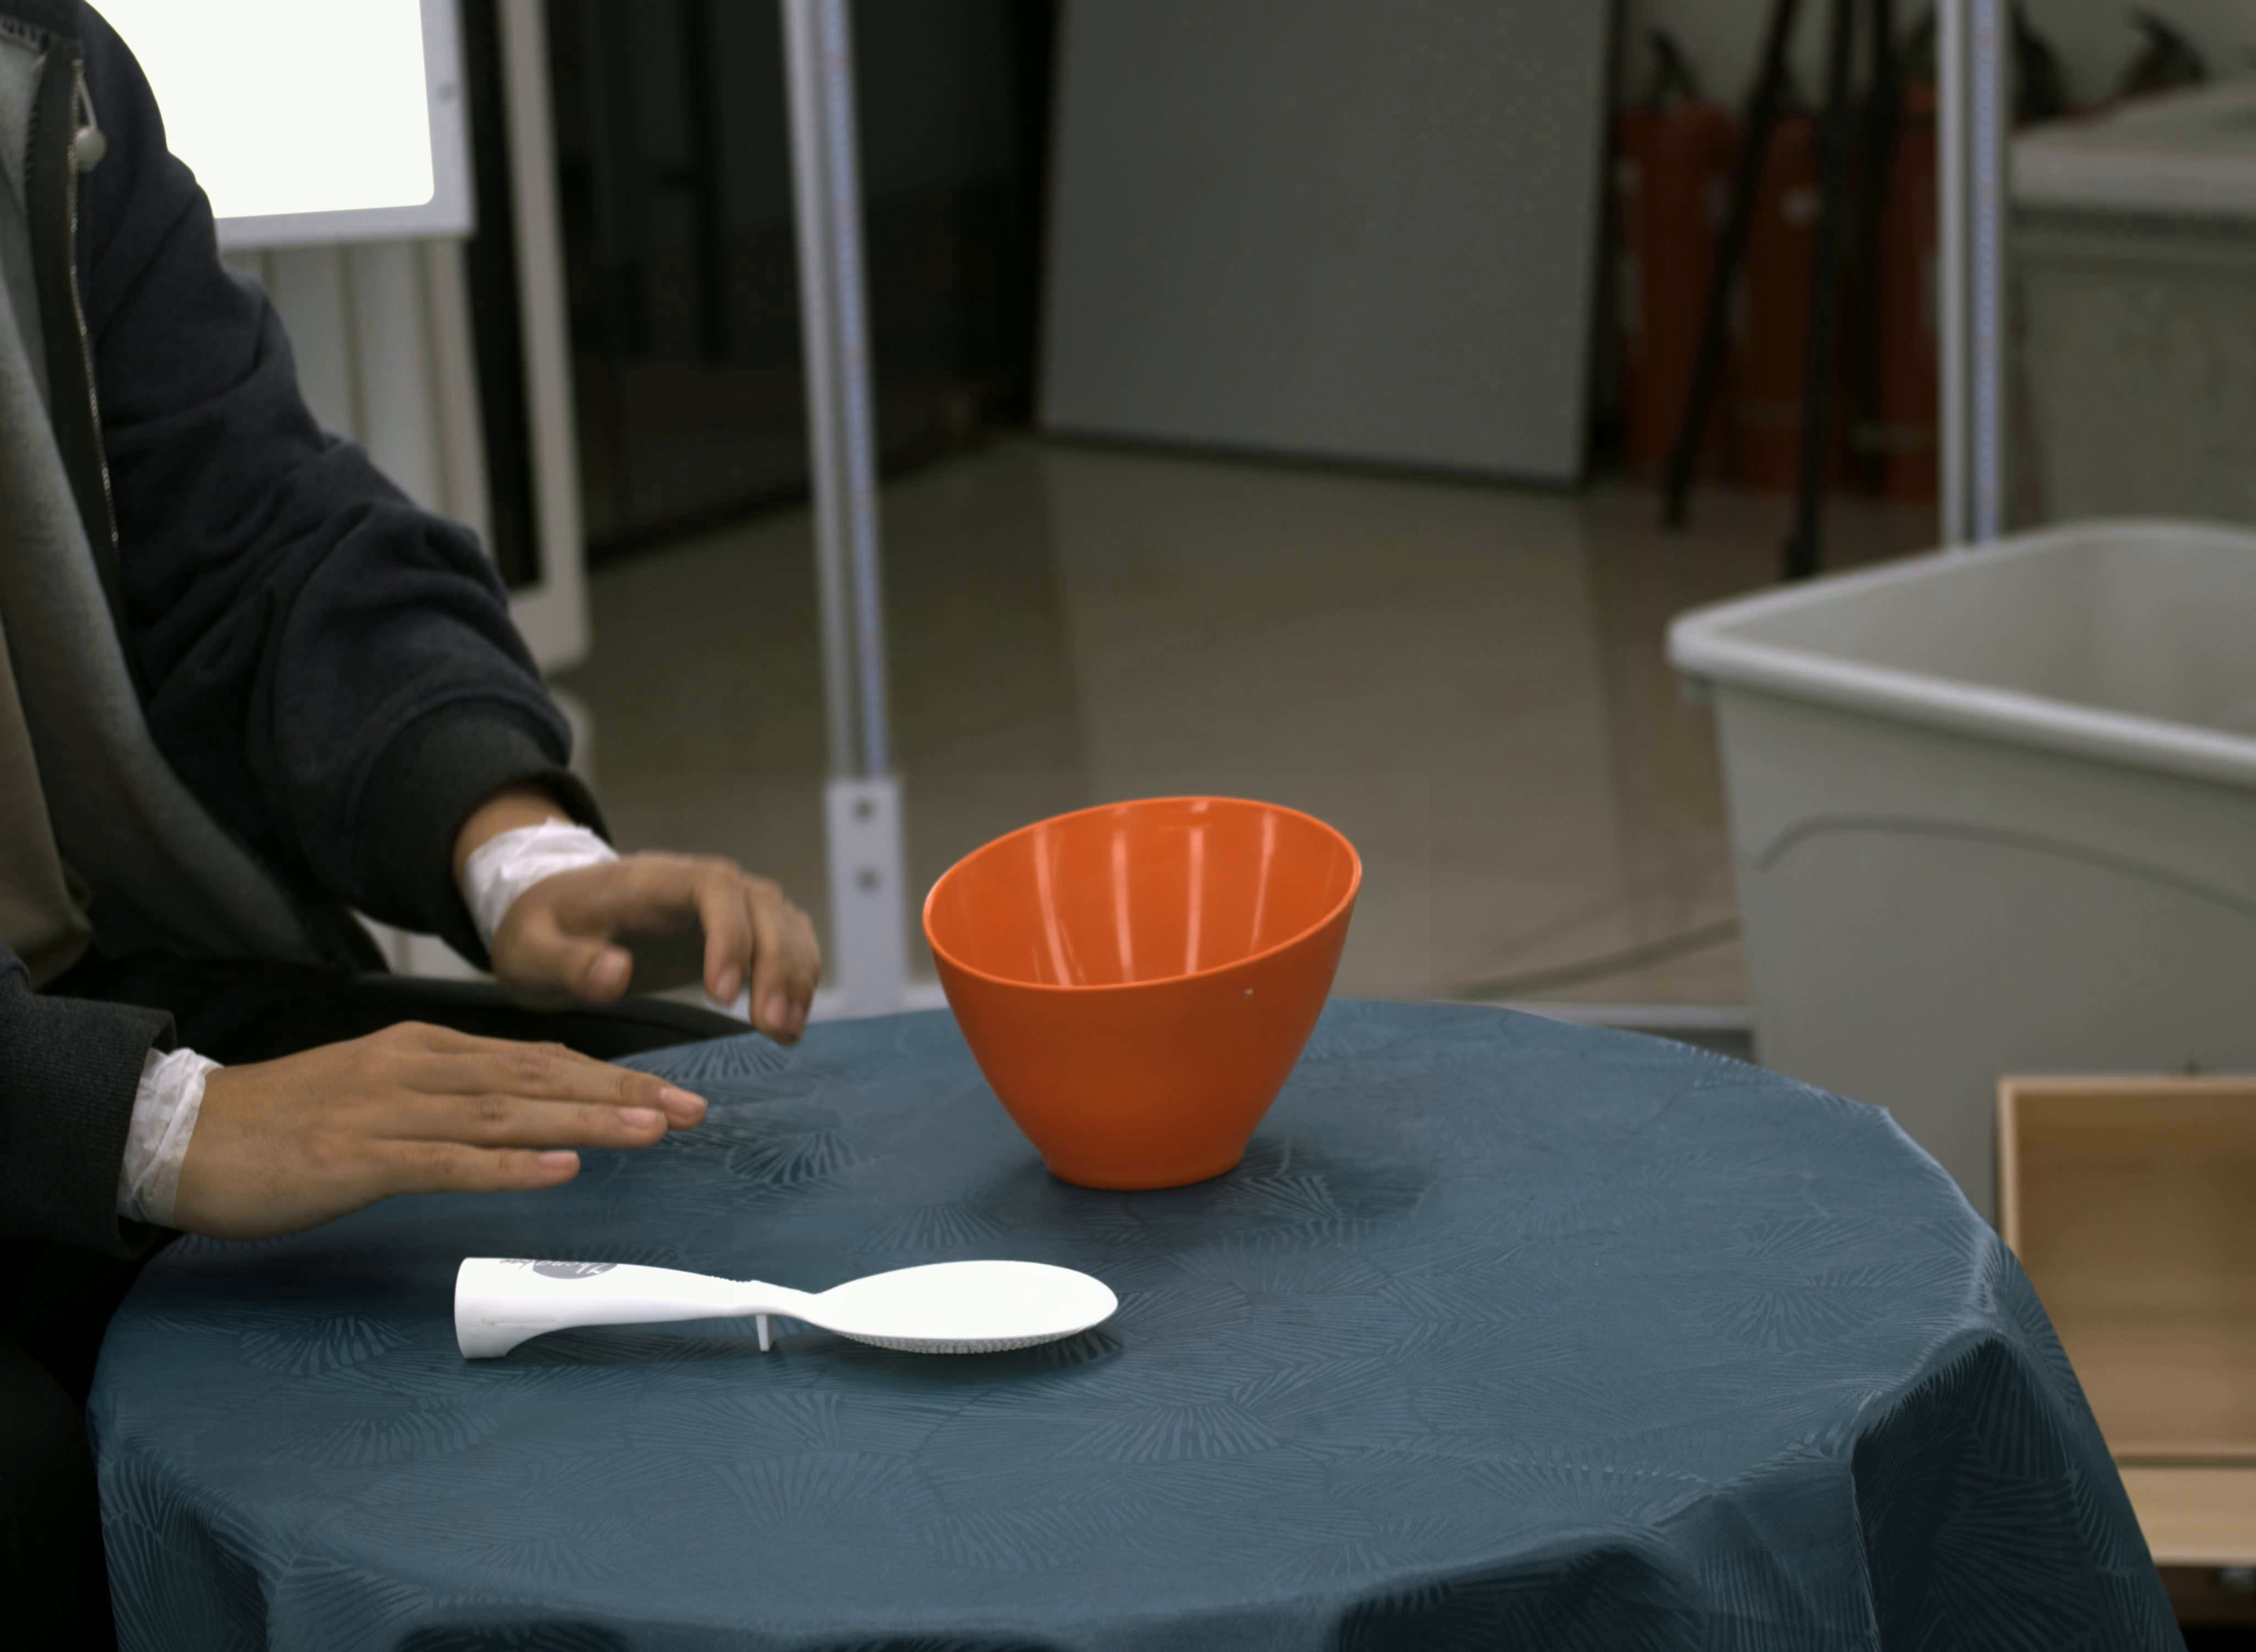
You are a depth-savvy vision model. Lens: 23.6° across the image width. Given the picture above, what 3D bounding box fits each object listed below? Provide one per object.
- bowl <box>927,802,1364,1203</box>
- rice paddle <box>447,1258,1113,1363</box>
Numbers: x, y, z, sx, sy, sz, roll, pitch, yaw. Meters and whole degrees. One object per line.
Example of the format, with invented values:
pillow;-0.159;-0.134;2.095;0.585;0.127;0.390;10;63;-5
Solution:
bowl;0.008;0.062;1.797;0.146;0.106;0.148;-4;15;0
rice paddle;-0.105;0.144;1.640;0.203;0.030;0.068;-2;15;8
